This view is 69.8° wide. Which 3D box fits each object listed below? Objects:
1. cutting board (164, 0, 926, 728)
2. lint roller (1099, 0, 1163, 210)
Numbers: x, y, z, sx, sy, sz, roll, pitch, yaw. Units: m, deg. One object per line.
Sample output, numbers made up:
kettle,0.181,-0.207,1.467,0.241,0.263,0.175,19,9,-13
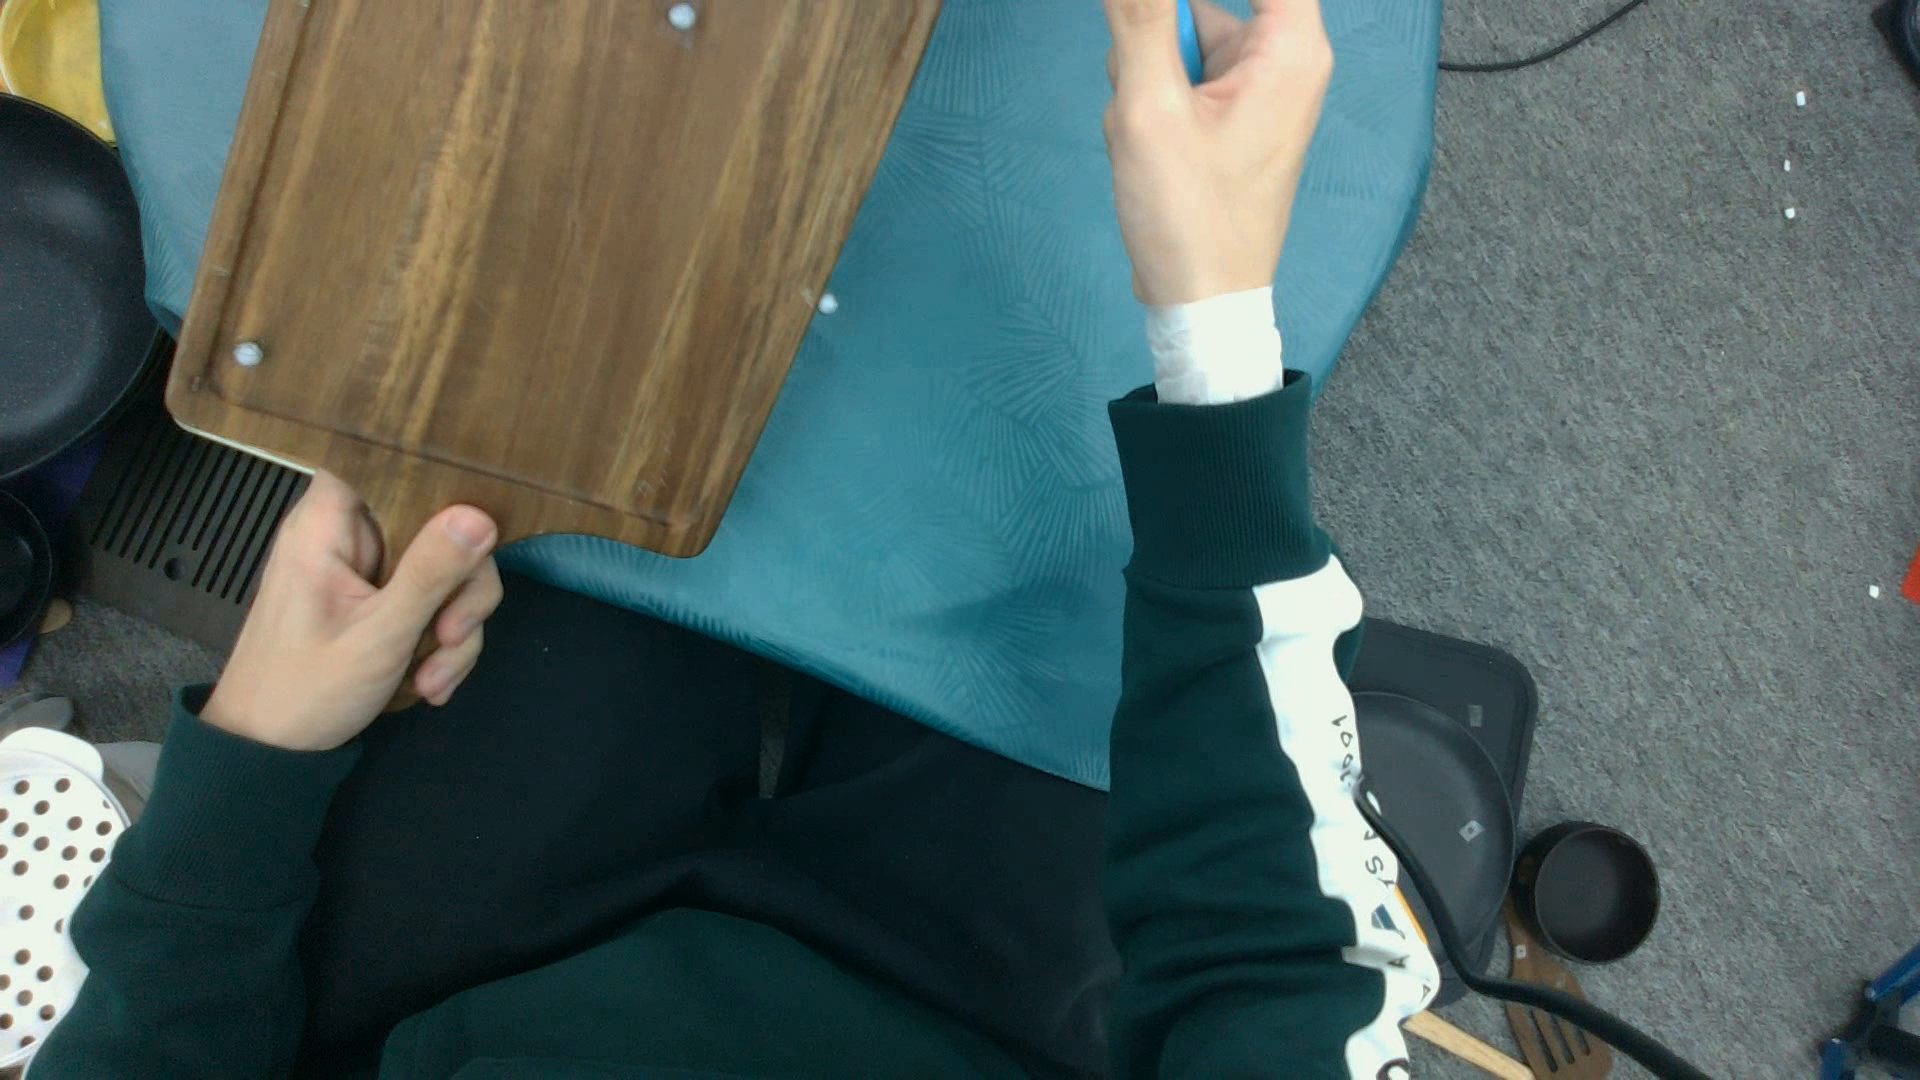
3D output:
cutting board,-0.161,-0.080,0.495,0.201,0.023,0.351,15,112,-28
lint roller,0.025,-0.202,0.470,0.180,0.067,0.230,48,43,-7
